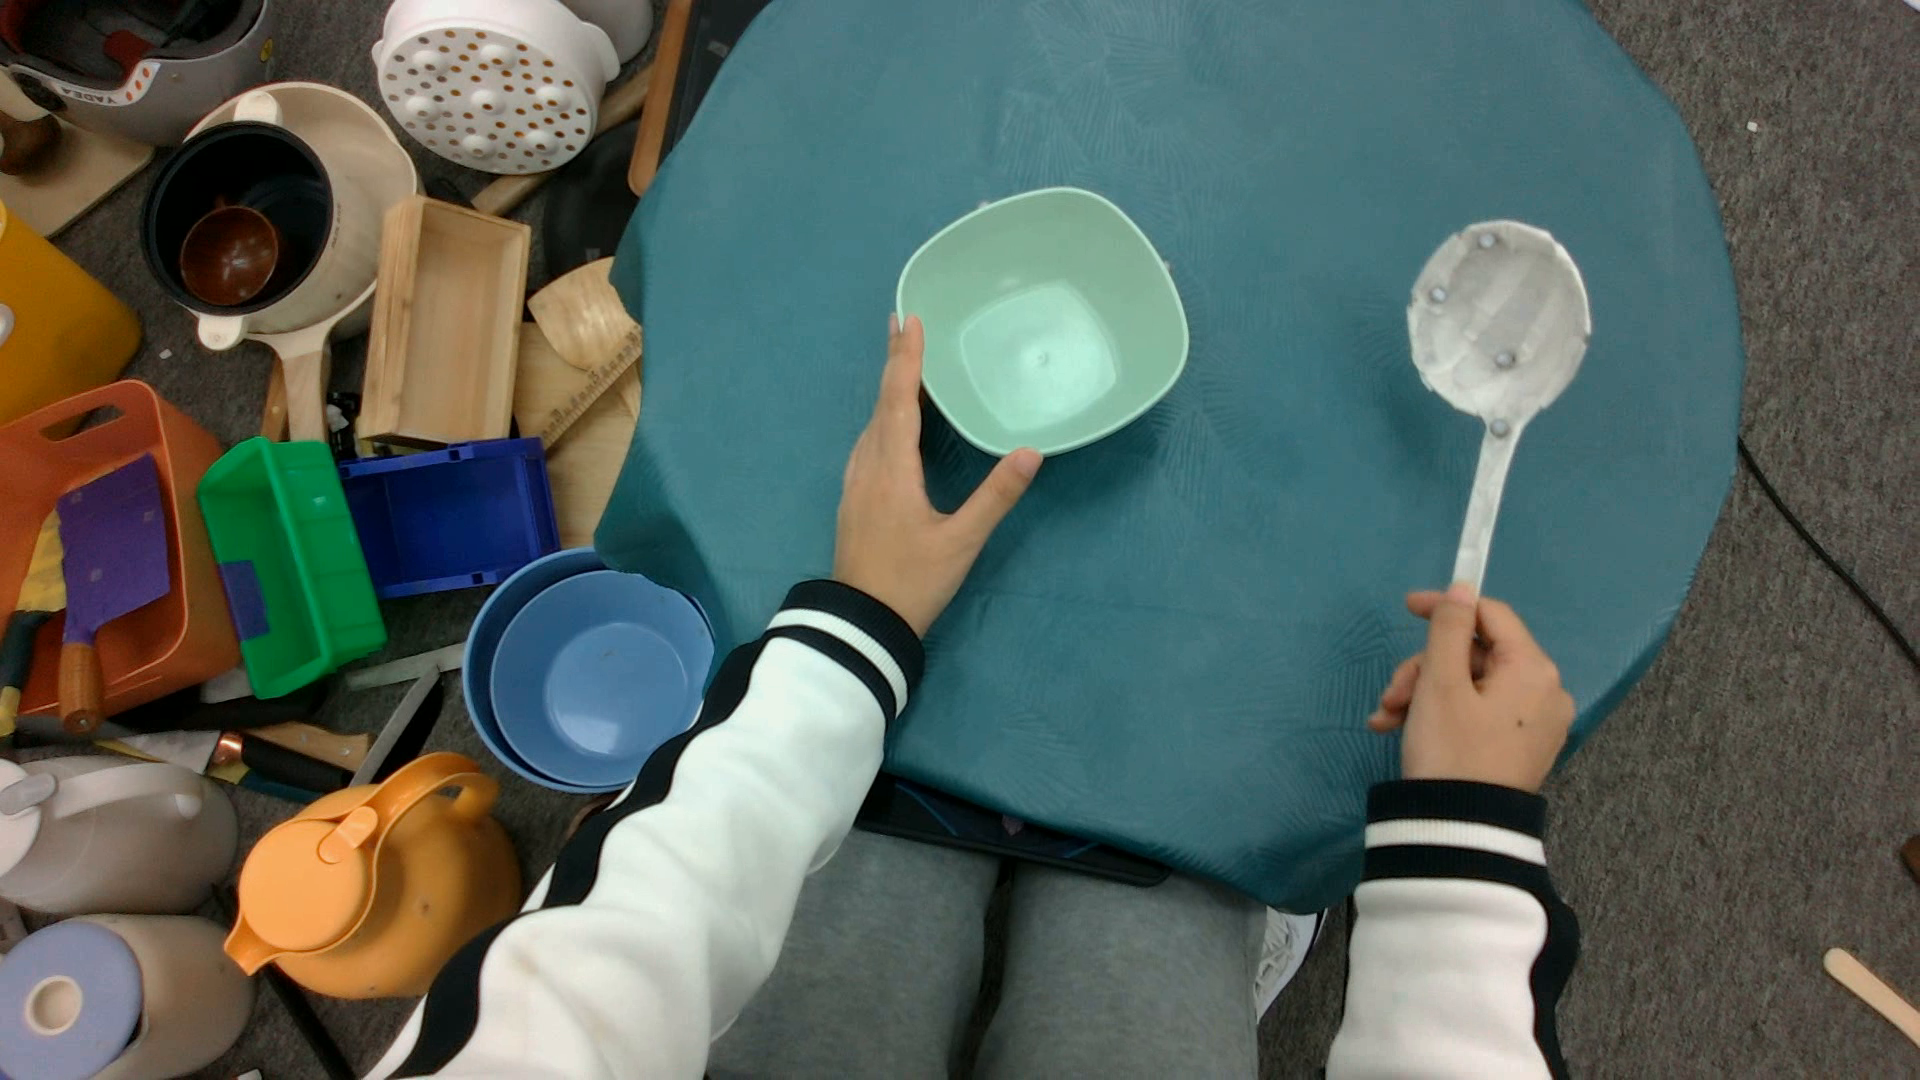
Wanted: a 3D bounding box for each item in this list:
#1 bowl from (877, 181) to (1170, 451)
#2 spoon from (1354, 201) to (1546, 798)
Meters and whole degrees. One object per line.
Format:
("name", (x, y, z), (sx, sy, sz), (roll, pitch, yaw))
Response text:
("bowl", (0.032, -0.109, 0.720), (0.151, 0.058, 0.152), (0, 74, 0))
("spoon", (0.207, -0.021, 0.643), (0.059, 0.100, 0.278), (24, 79, -26))
